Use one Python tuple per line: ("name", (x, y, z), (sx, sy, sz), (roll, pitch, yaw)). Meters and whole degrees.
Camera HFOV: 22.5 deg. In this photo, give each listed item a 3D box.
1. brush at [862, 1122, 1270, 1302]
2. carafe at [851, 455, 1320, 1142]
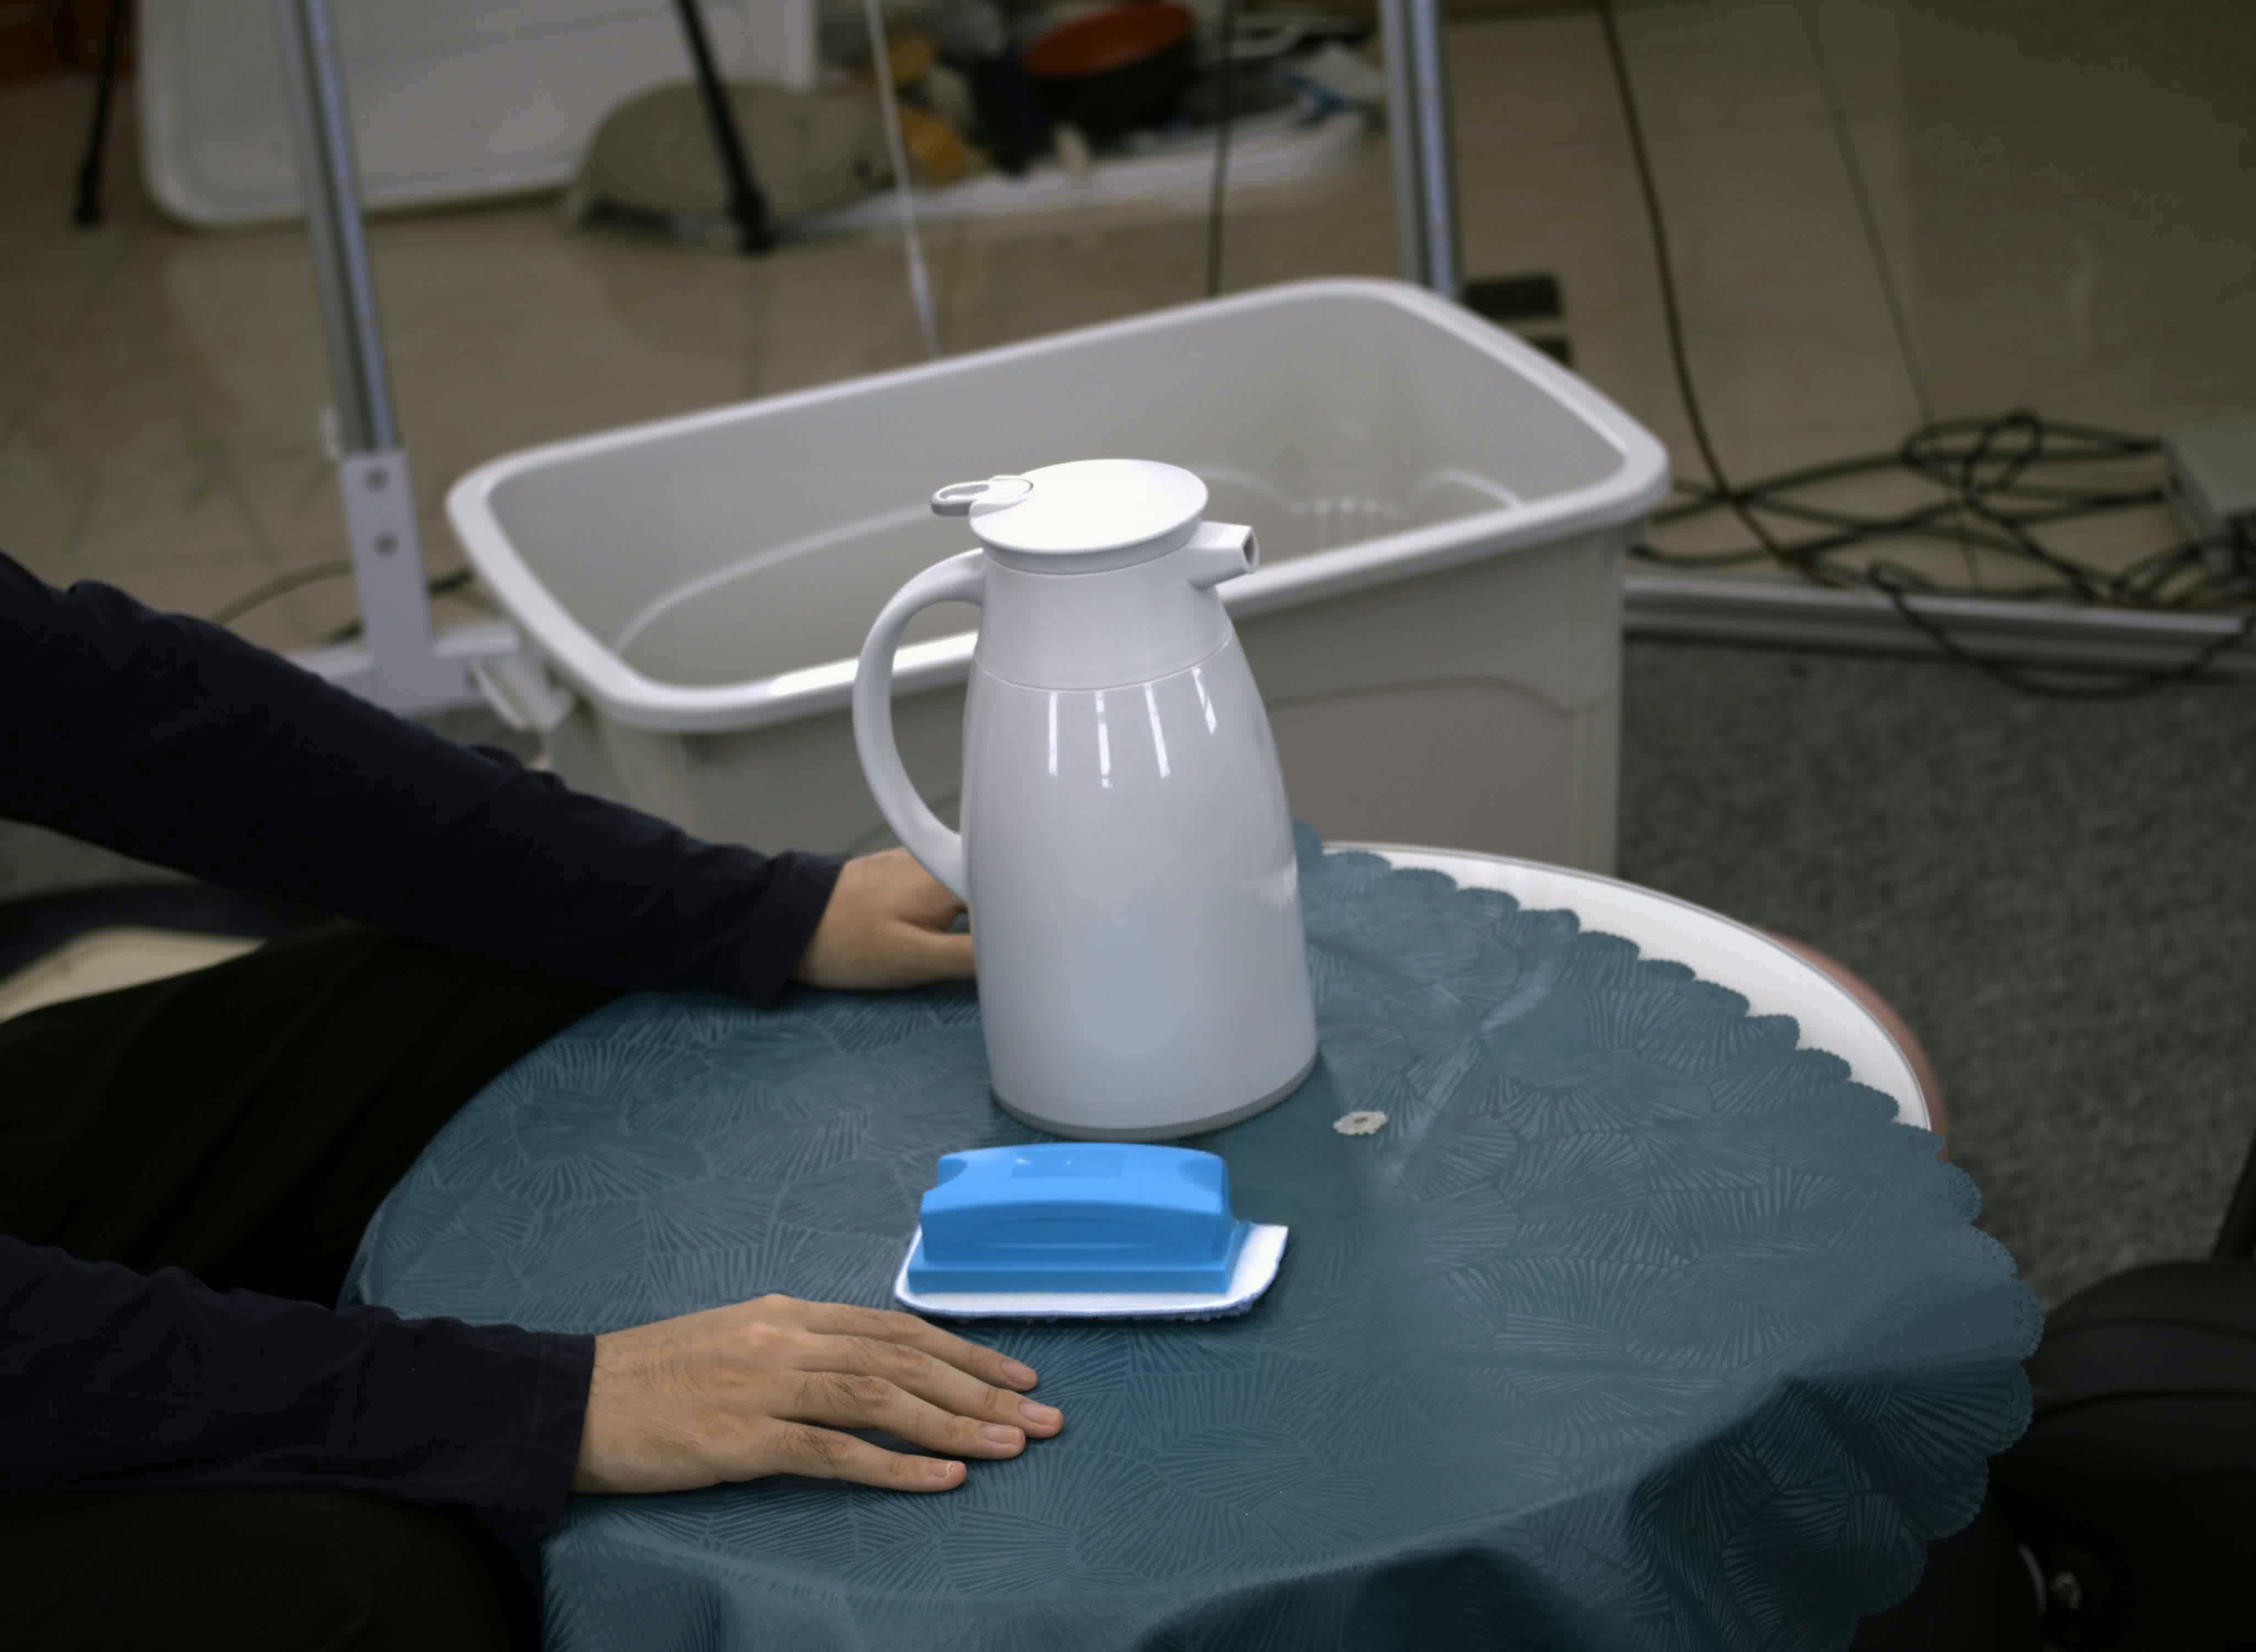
("brush", (-0.023, 0.140, 2.078), (0.143, 0.057, 0.083), (2, 23, 13))
("carafe", (-0.021, -0.017, 2.189), (0.167, 0.252, 0.130), (-1, 26, 13))
